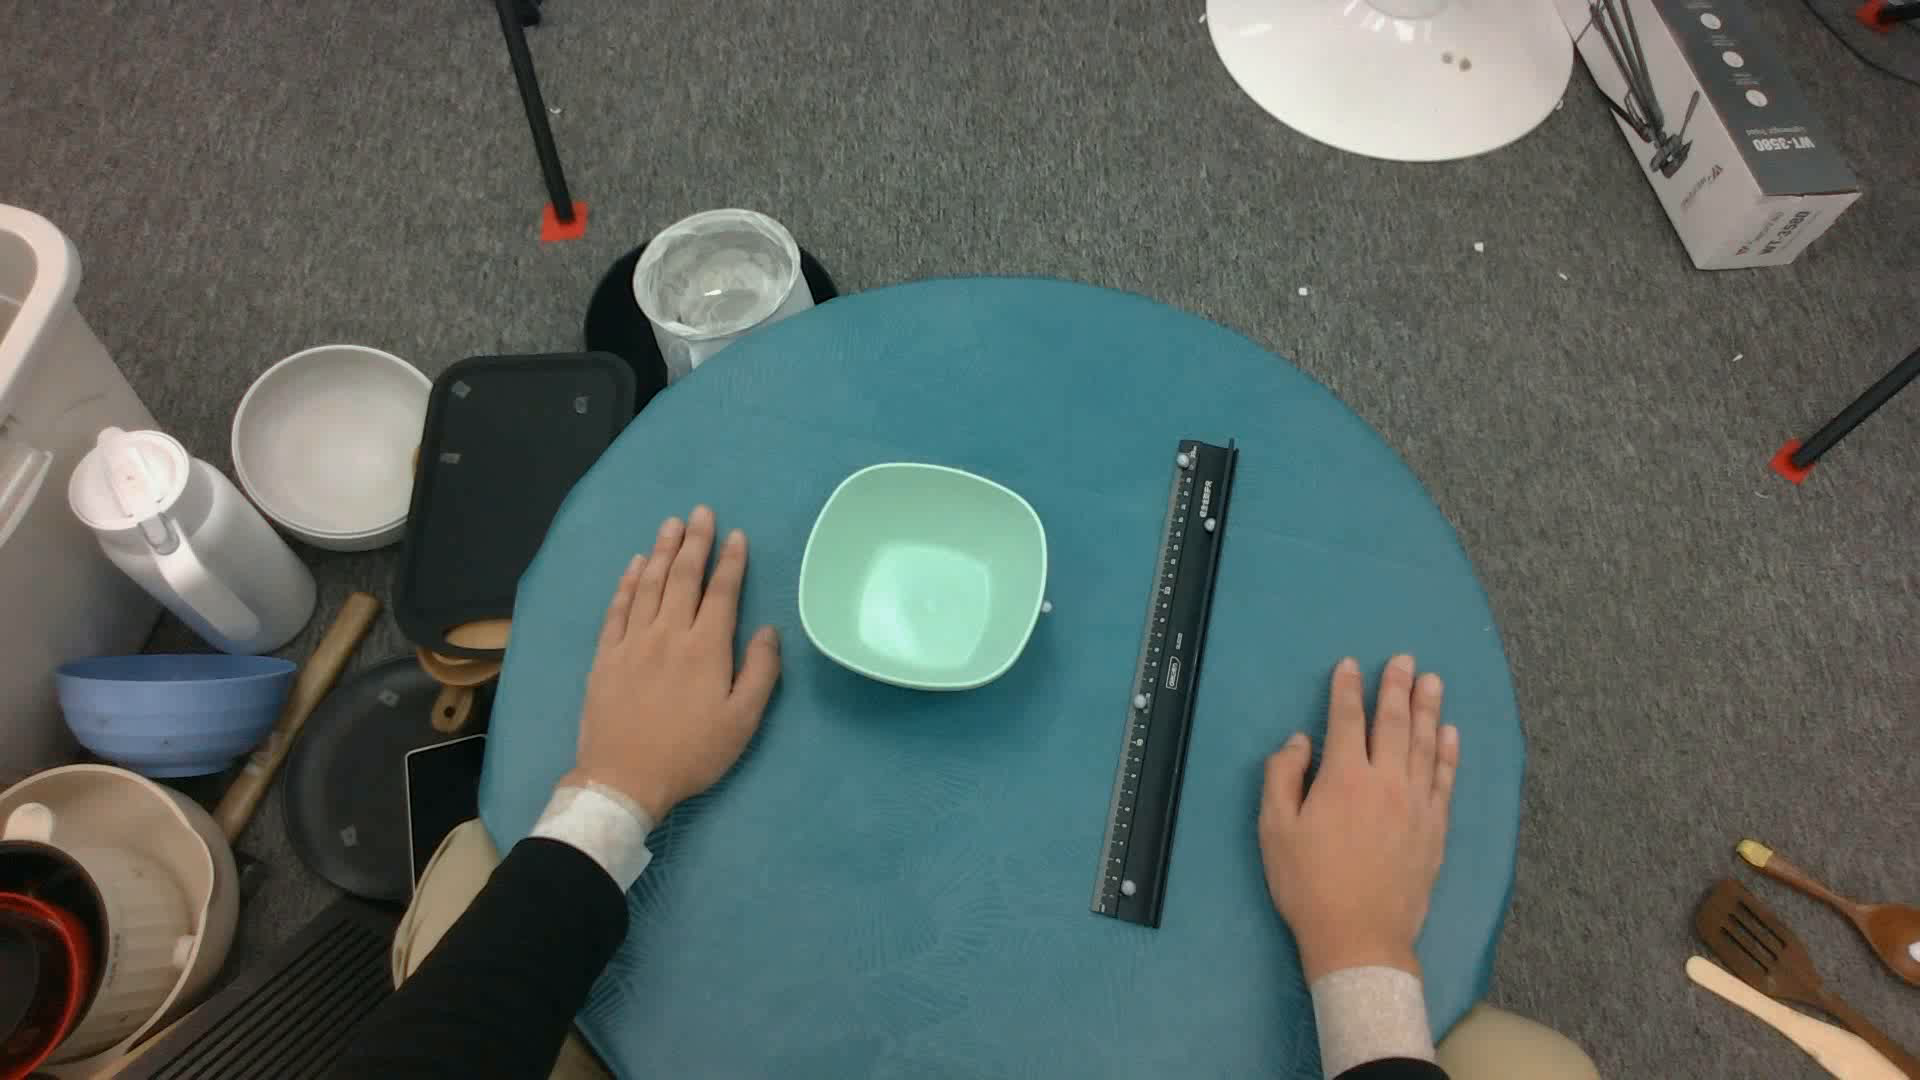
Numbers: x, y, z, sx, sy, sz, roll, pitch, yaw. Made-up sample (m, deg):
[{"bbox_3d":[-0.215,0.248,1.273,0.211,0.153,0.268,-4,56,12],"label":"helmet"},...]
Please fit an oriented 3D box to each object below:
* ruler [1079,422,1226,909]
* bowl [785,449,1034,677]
[{"bbox_3d":[0.119,0.059,0.816,0.039,0.017,0.314,11,63,7],"label":"ruler"},{"bbox_3d":[-0.029,0.022,0.804,0.151,0.058,0.152,2,61,-4],"label":"bowl"}]
